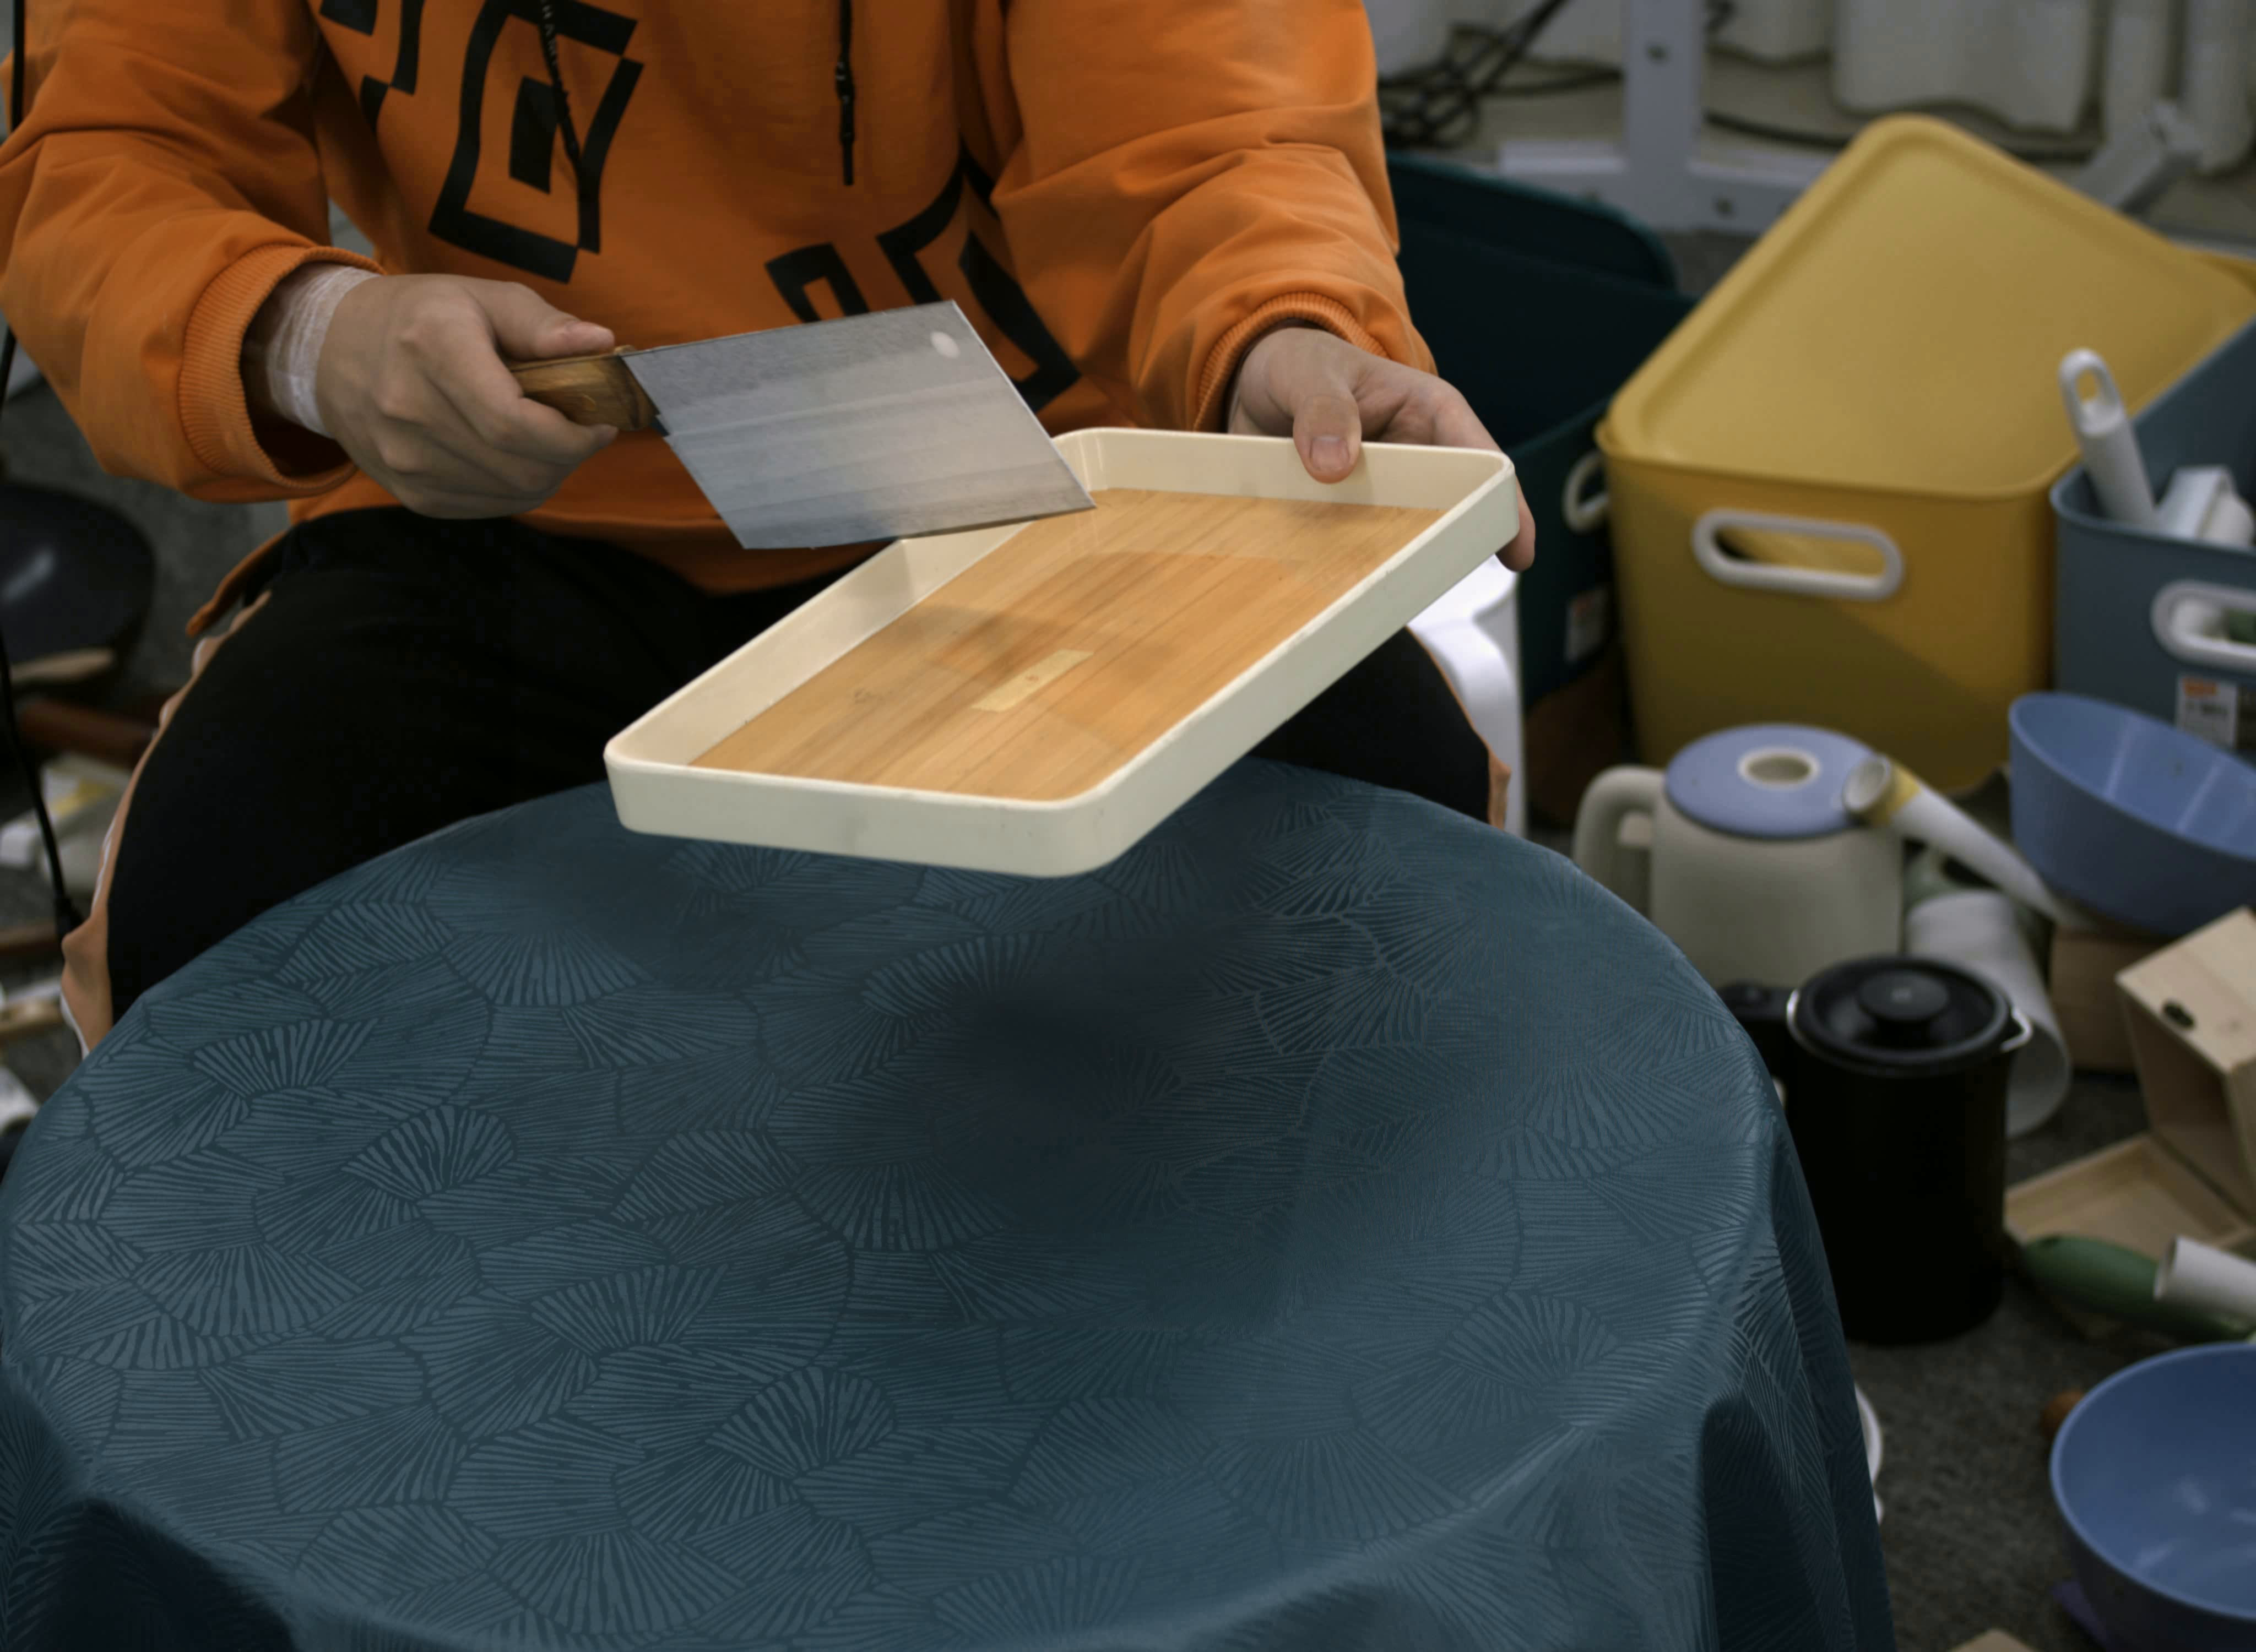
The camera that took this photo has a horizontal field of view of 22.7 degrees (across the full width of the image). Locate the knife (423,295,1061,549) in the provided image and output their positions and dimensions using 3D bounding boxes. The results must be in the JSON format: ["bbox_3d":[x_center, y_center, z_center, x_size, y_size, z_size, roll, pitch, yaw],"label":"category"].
[{"bbox_3d":[-0.133,-0.133,1.944,0.302,0.092,0.021,-3,40,48],"label":"knife"}]

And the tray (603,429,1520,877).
[{"bbox_3d":[-0.016,-0.062,1.856,0.190,0.027,0.305,6,27,32],"label":"tray"}]
